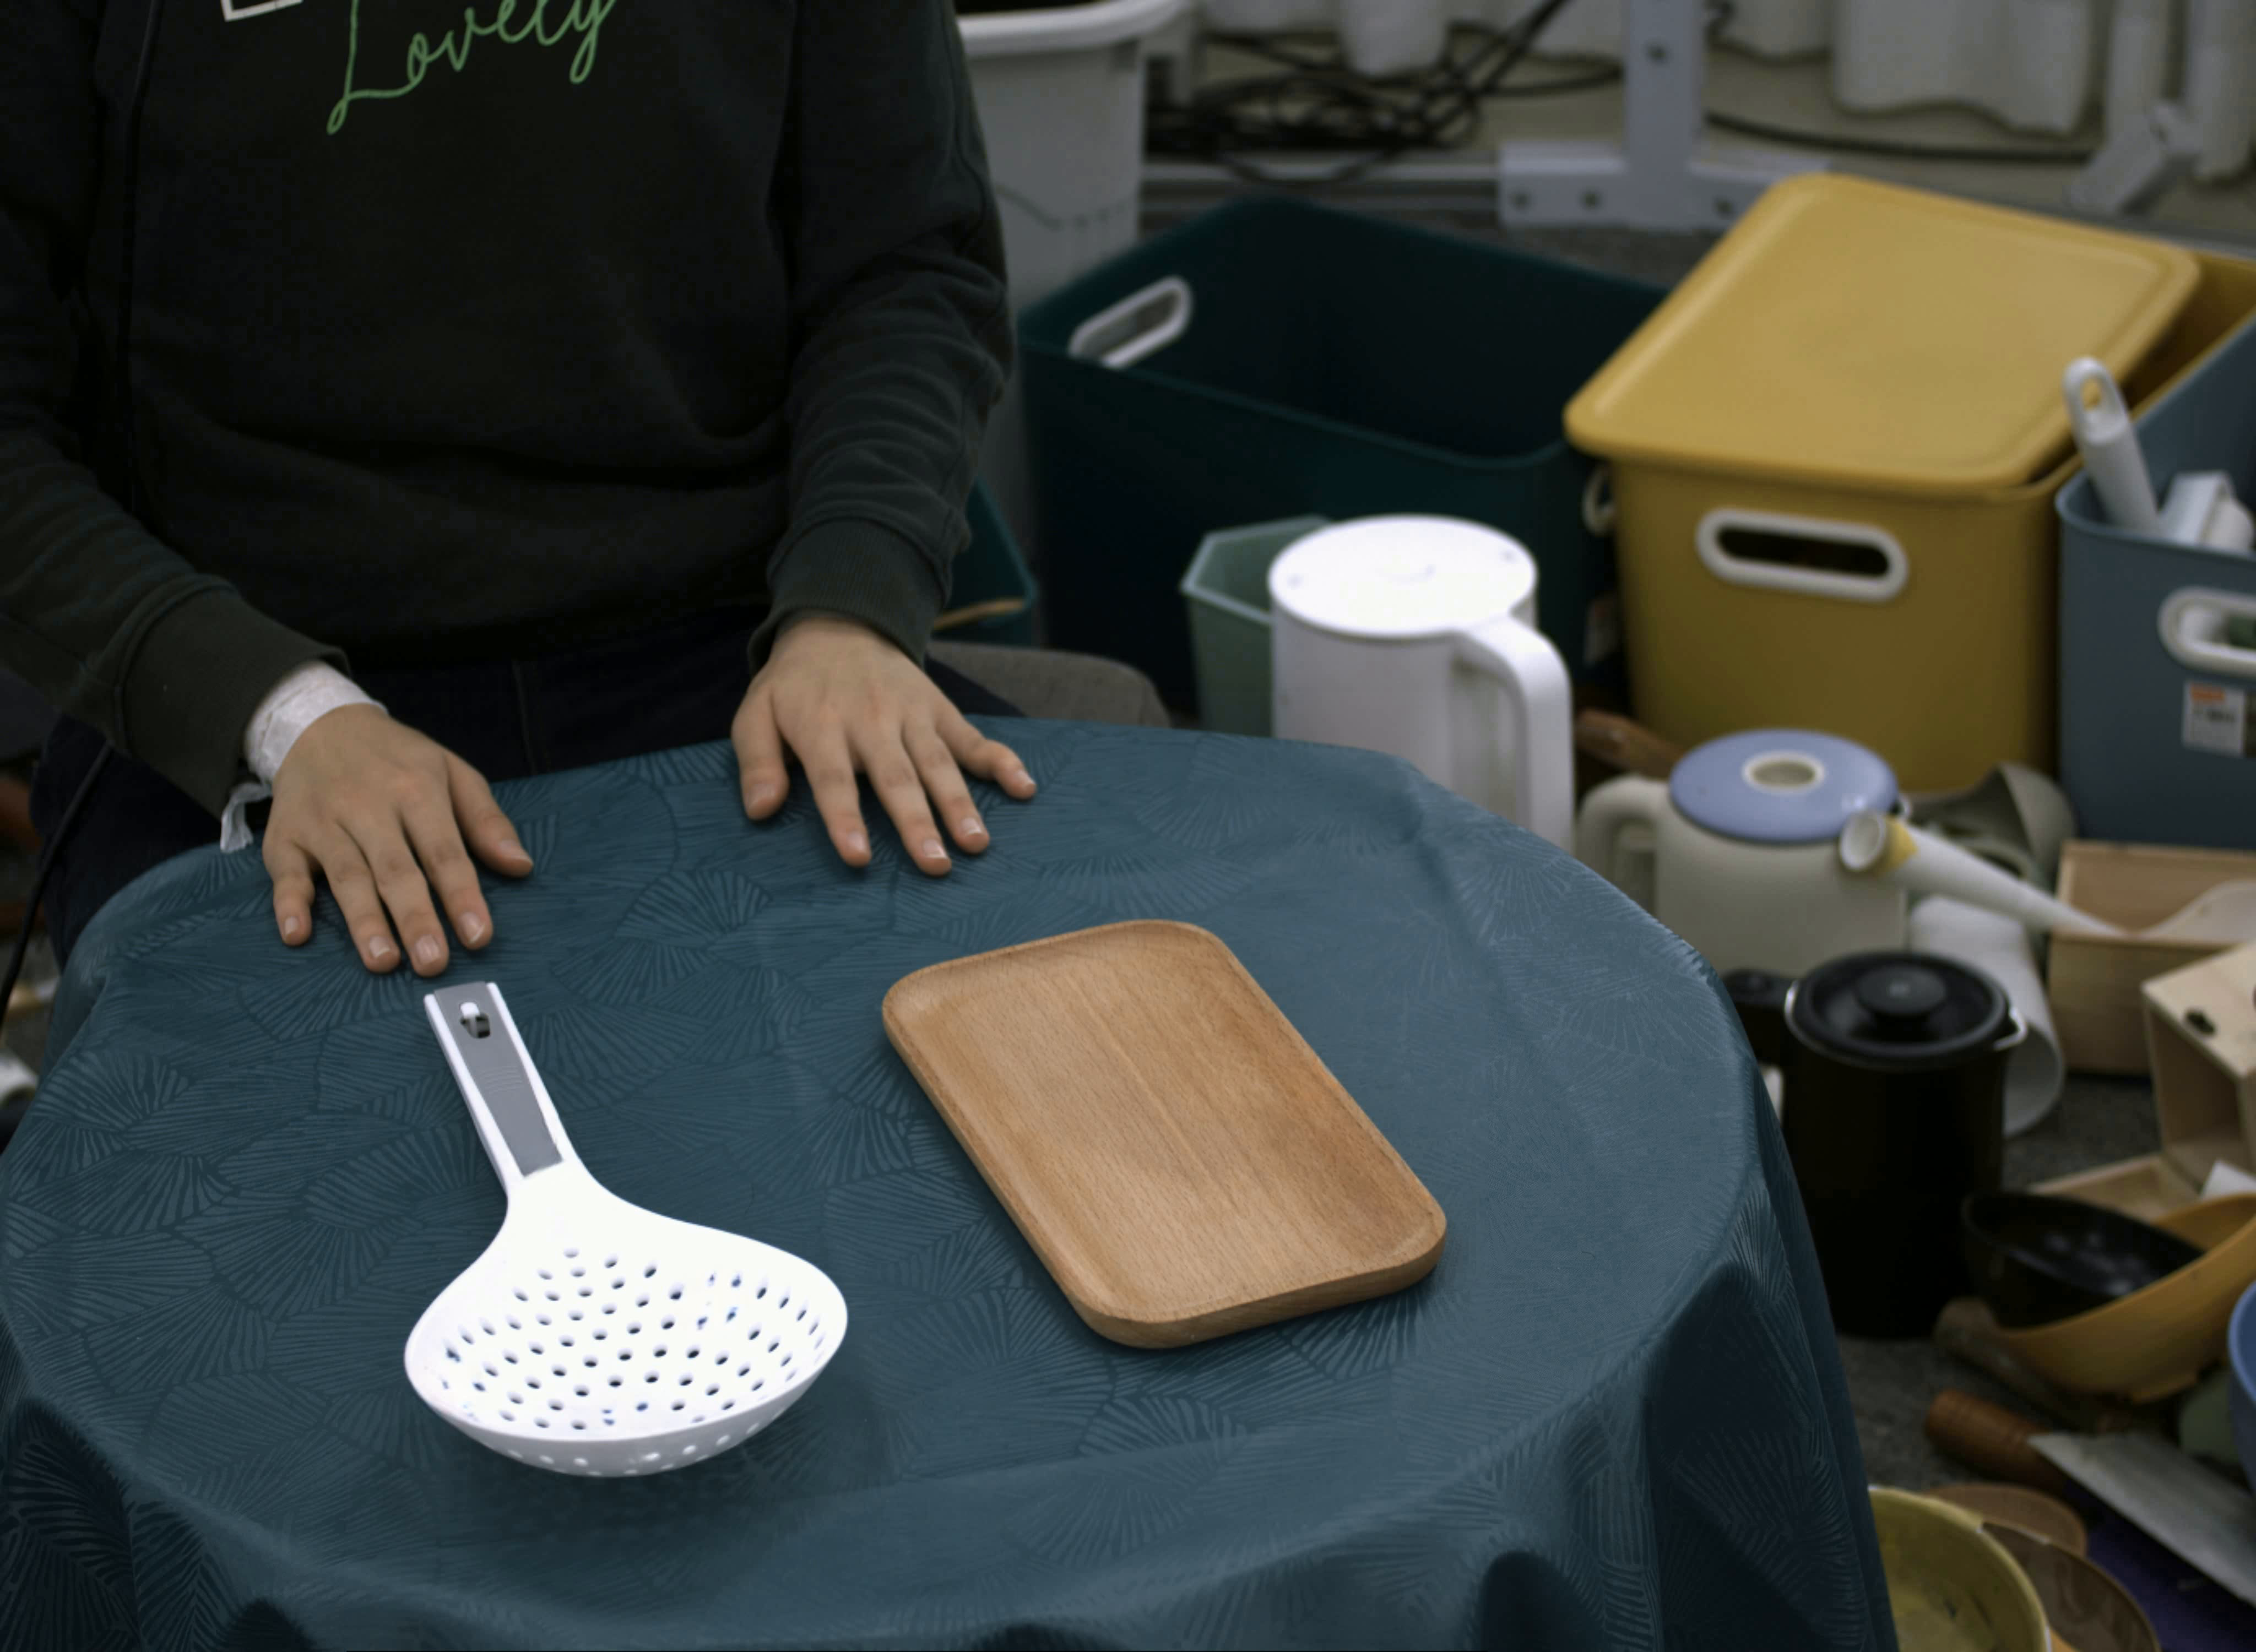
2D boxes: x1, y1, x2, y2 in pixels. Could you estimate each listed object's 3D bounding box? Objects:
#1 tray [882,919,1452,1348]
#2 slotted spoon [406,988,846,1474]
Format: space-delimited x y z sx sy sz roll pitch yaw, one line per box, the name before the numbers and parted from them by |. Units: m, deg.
tray | 0.009 0.100 1.884 0.131 0.022 0.252 -10 27 -17
slotted spoon | -0.185 0.125 1.824 0.136 0.045 0.353 -8 27 -15
